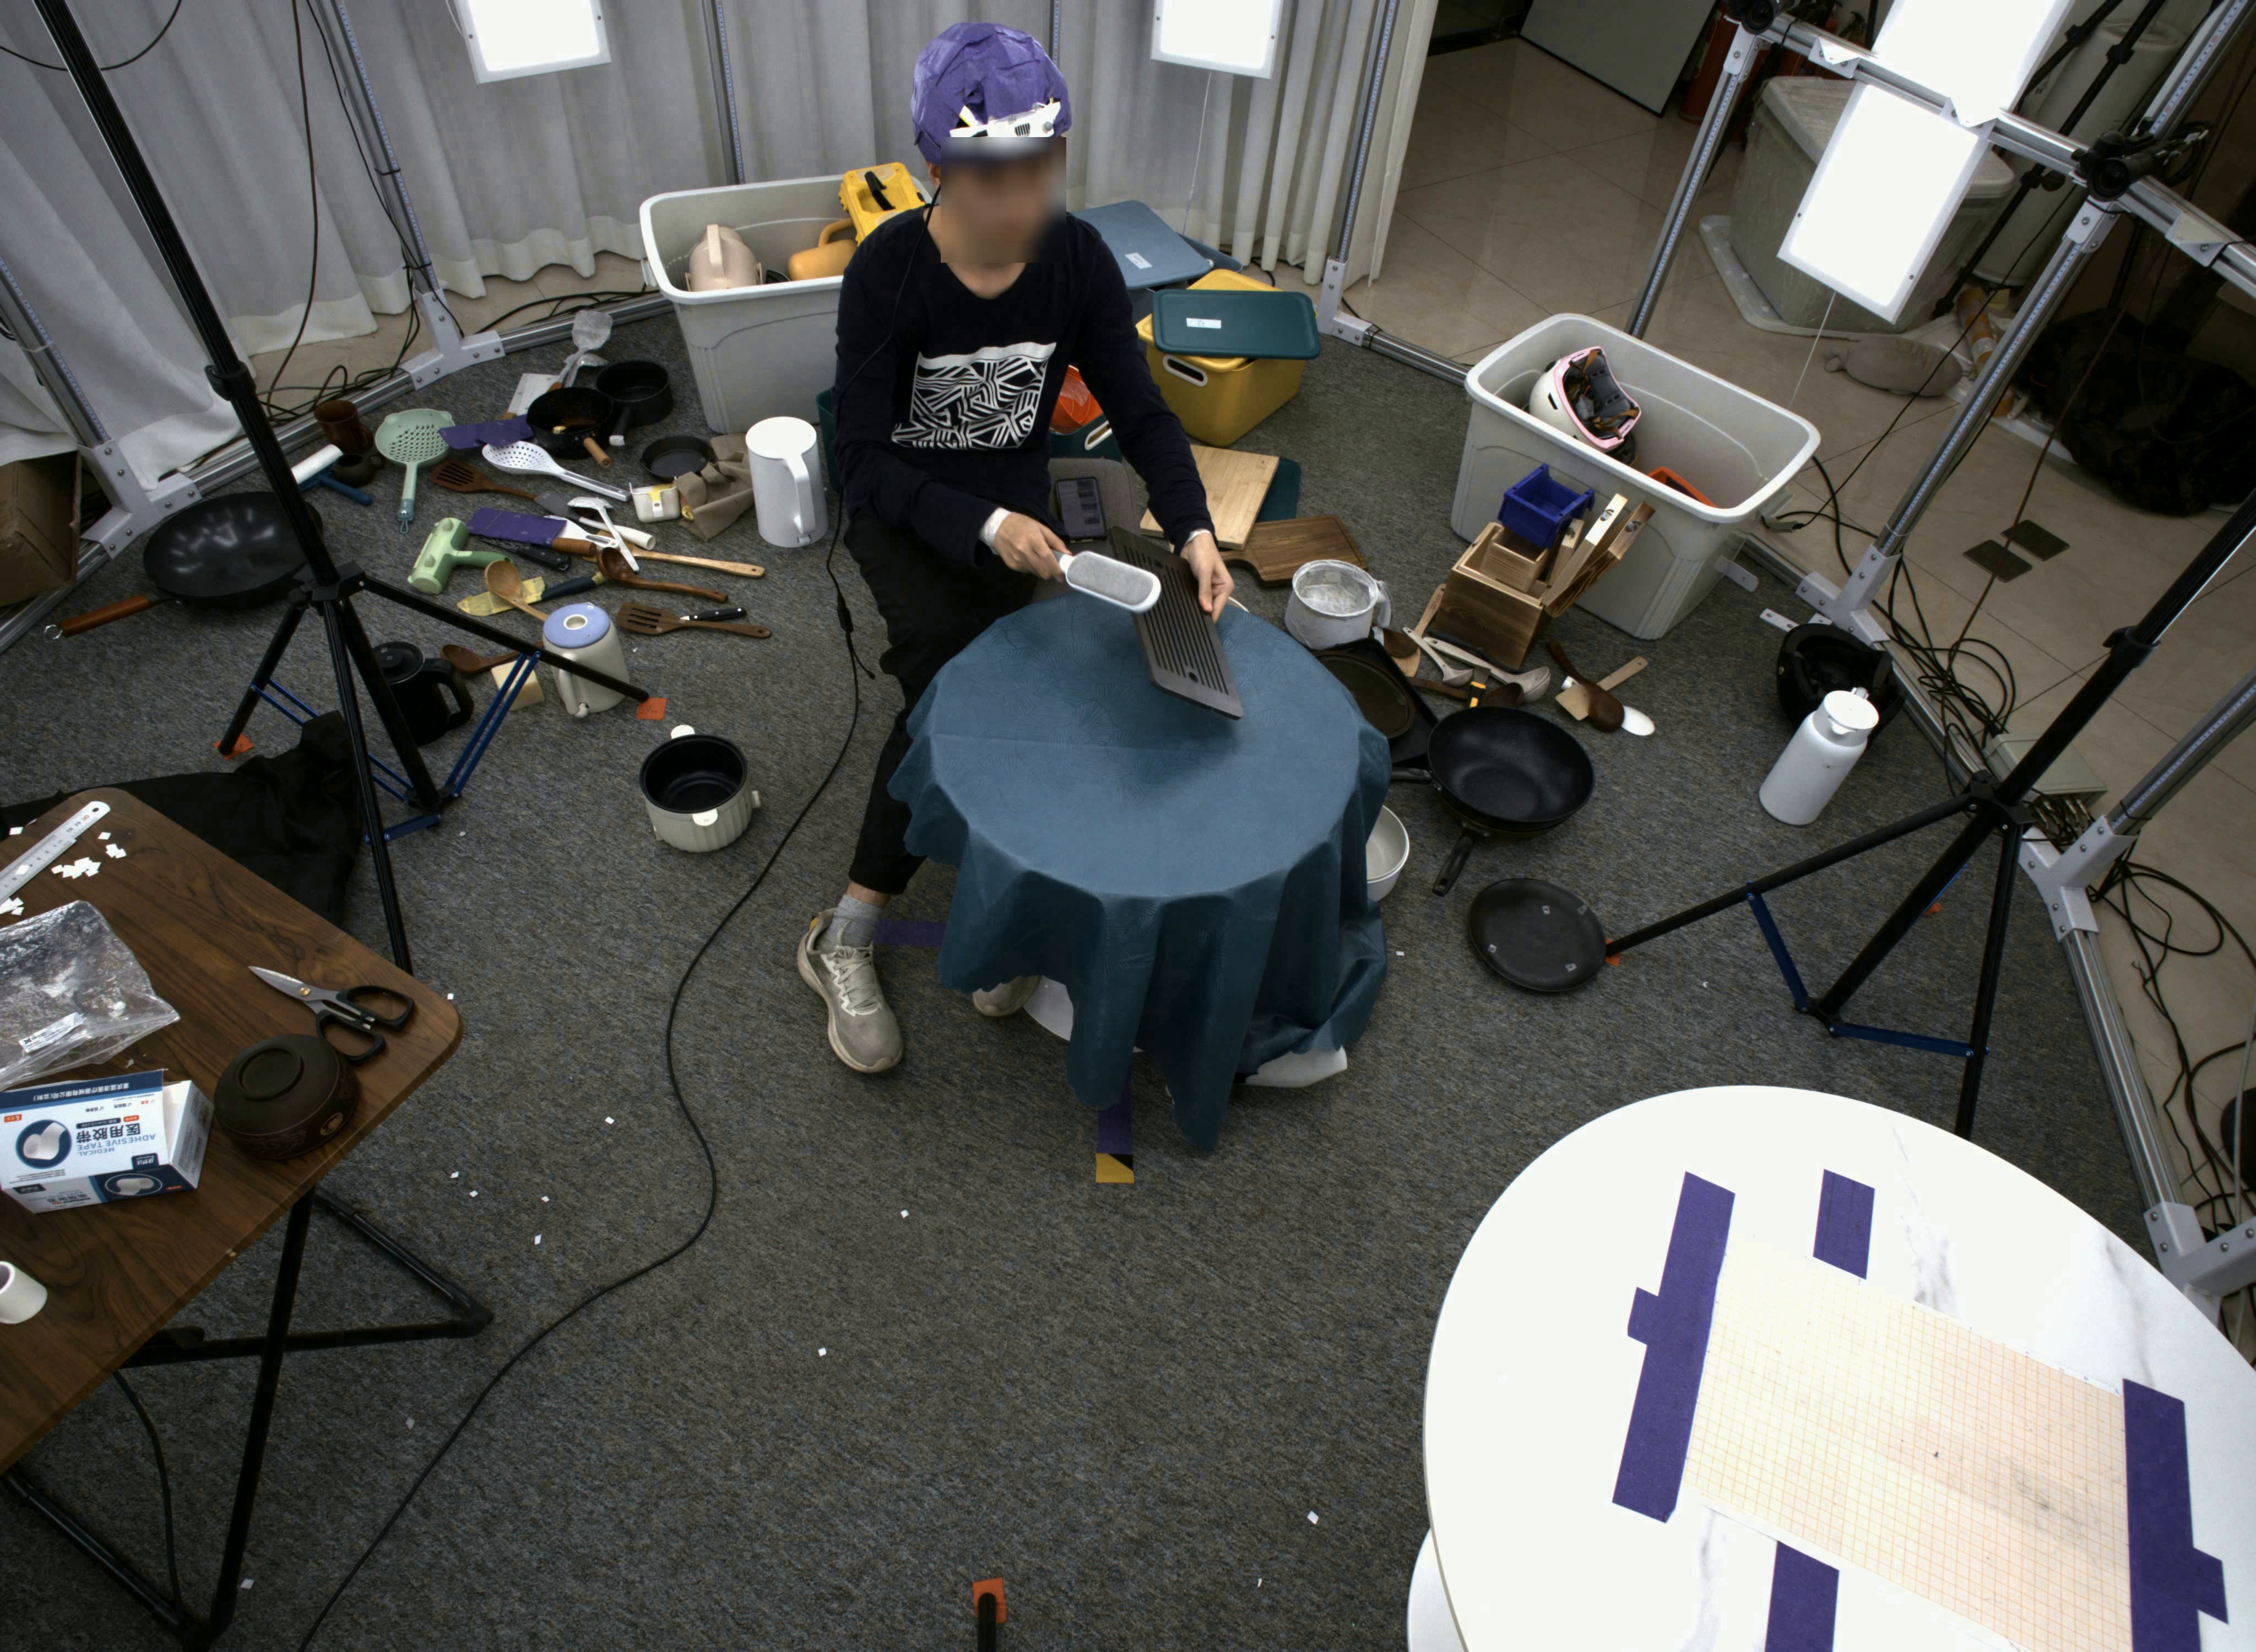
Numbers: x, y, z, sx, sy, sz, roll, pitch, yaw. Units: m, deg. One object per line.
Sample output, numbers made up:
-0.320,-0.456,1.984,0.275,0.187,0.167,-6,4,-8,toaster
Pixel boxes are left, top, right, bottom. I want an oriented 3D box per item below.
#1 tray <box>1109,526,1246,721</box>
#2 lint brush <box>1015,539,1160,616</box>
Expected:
0.066,-0.285,1.807,0.168,0.018,0.313,16,46,-38,tray
-0.063,-0.359,1.812,0.314,0.020,0.060,30,94,43,lint brush
